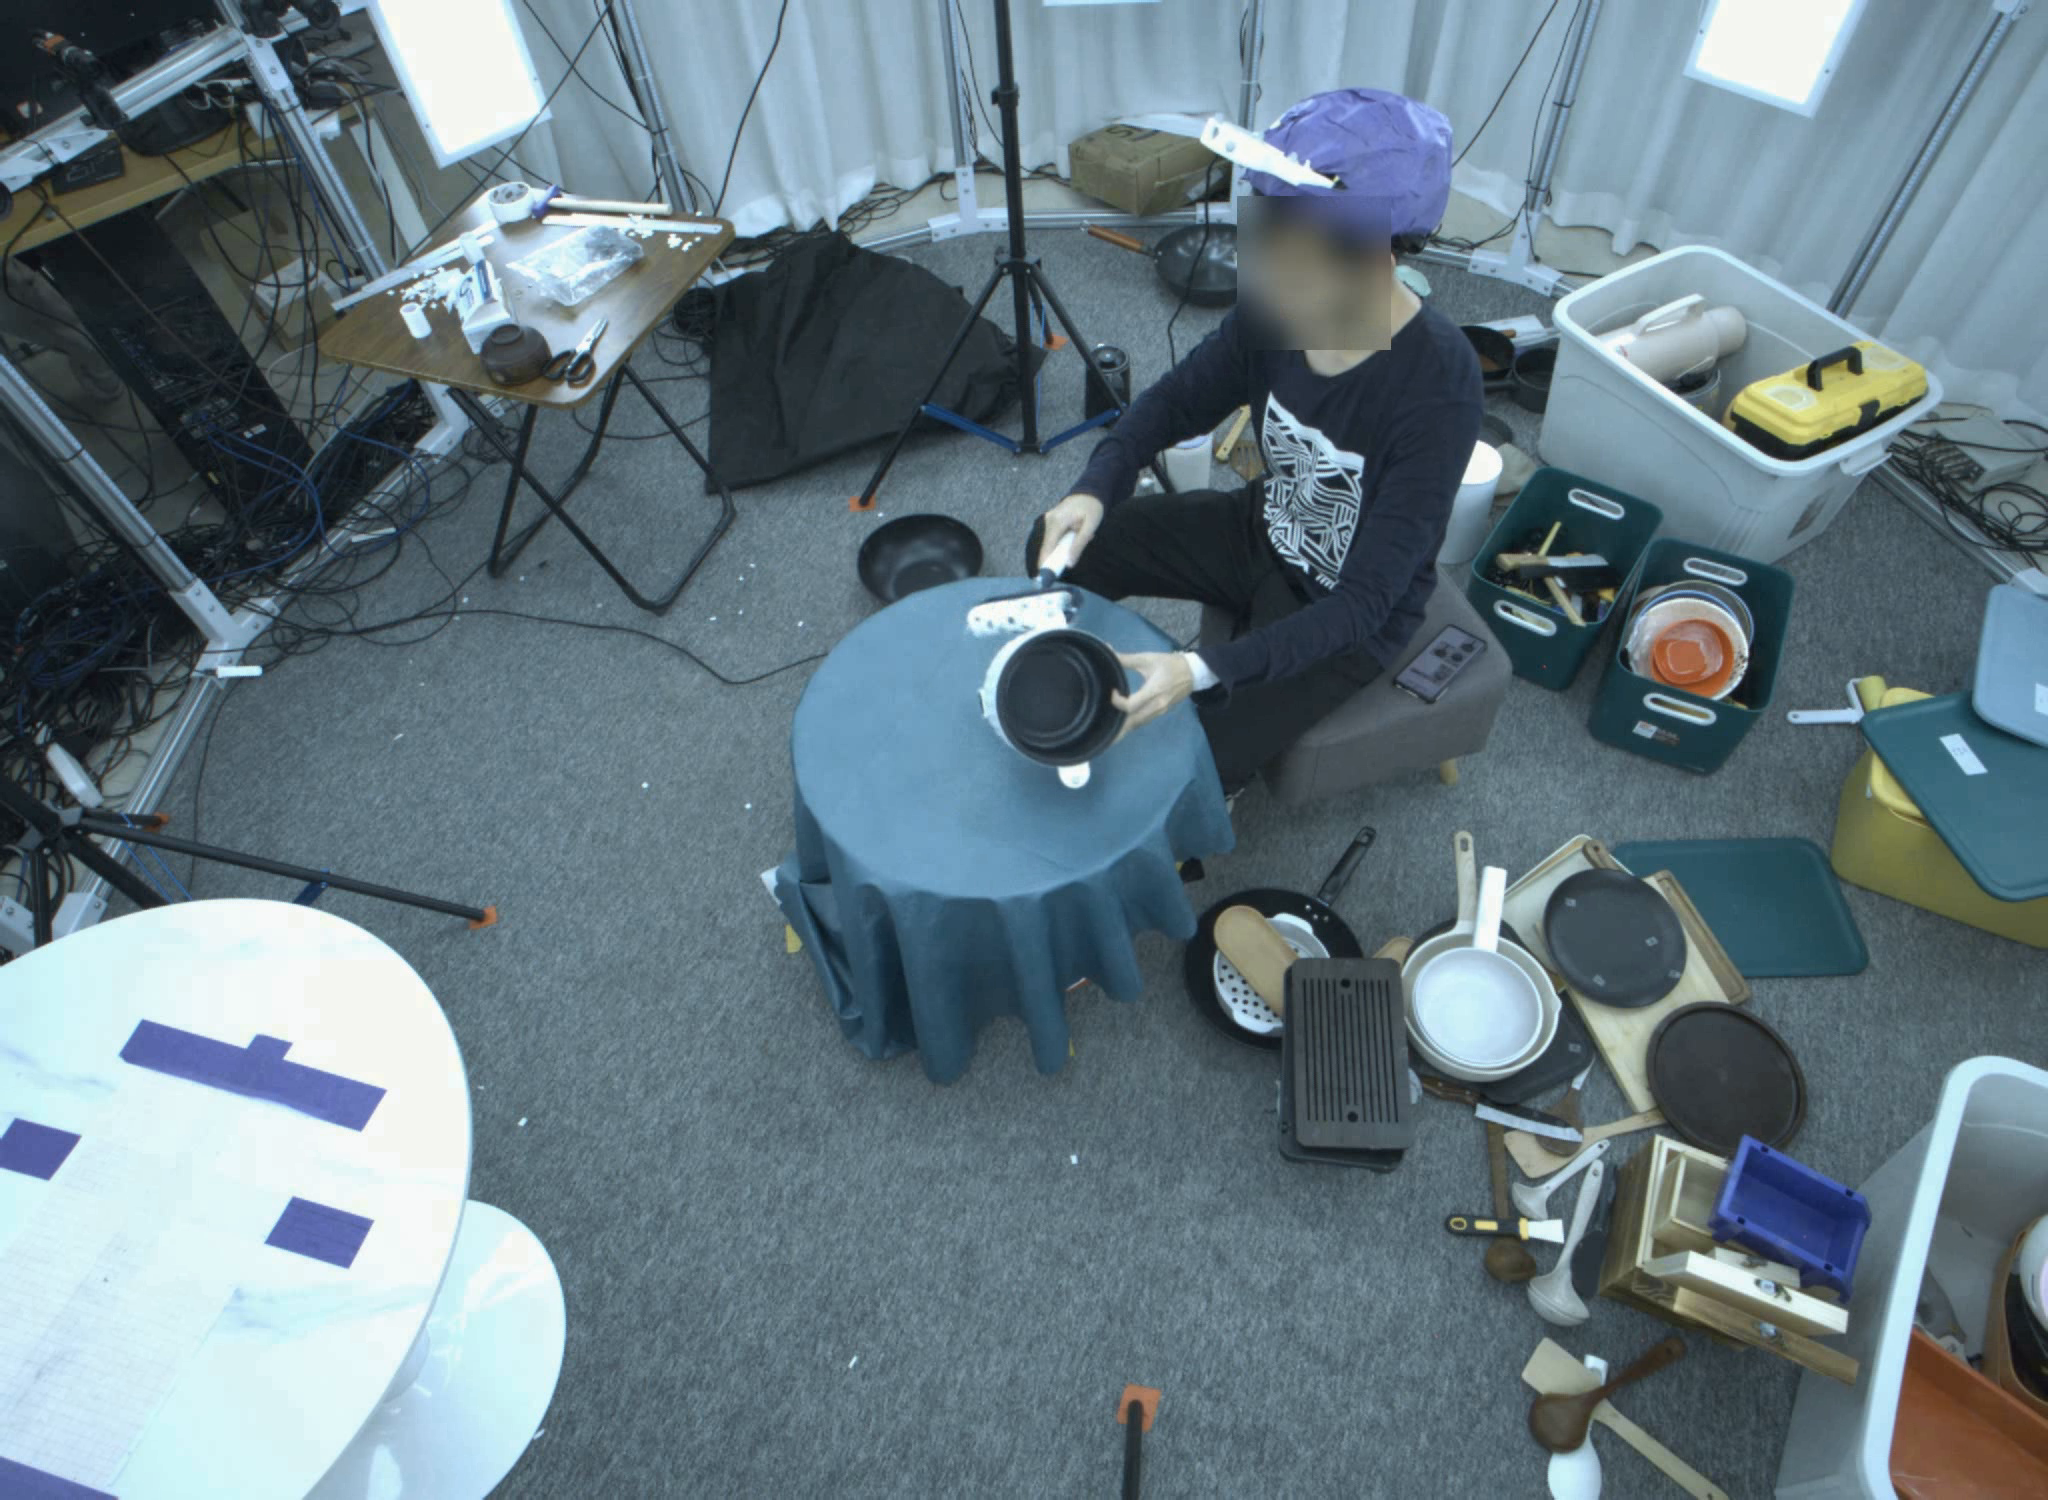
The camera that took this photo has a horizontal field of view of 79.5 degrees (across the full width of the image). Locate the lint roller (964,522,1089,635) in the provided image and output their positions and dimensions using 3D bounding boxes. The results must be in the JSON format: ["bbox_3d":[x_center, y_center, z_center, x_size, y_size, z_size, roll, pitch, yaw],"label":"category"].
[{"bbox_3d":[0.031,-0.261,1.772,0.173,0.051,0.247,-6,39,38],"label":"lint roller"}]

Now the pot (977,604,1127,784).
[{"bbox_3d":[0.040,-0.083,1.670,0.192,0.242,0.141,-11,13,-10],"label":"pot"}]
